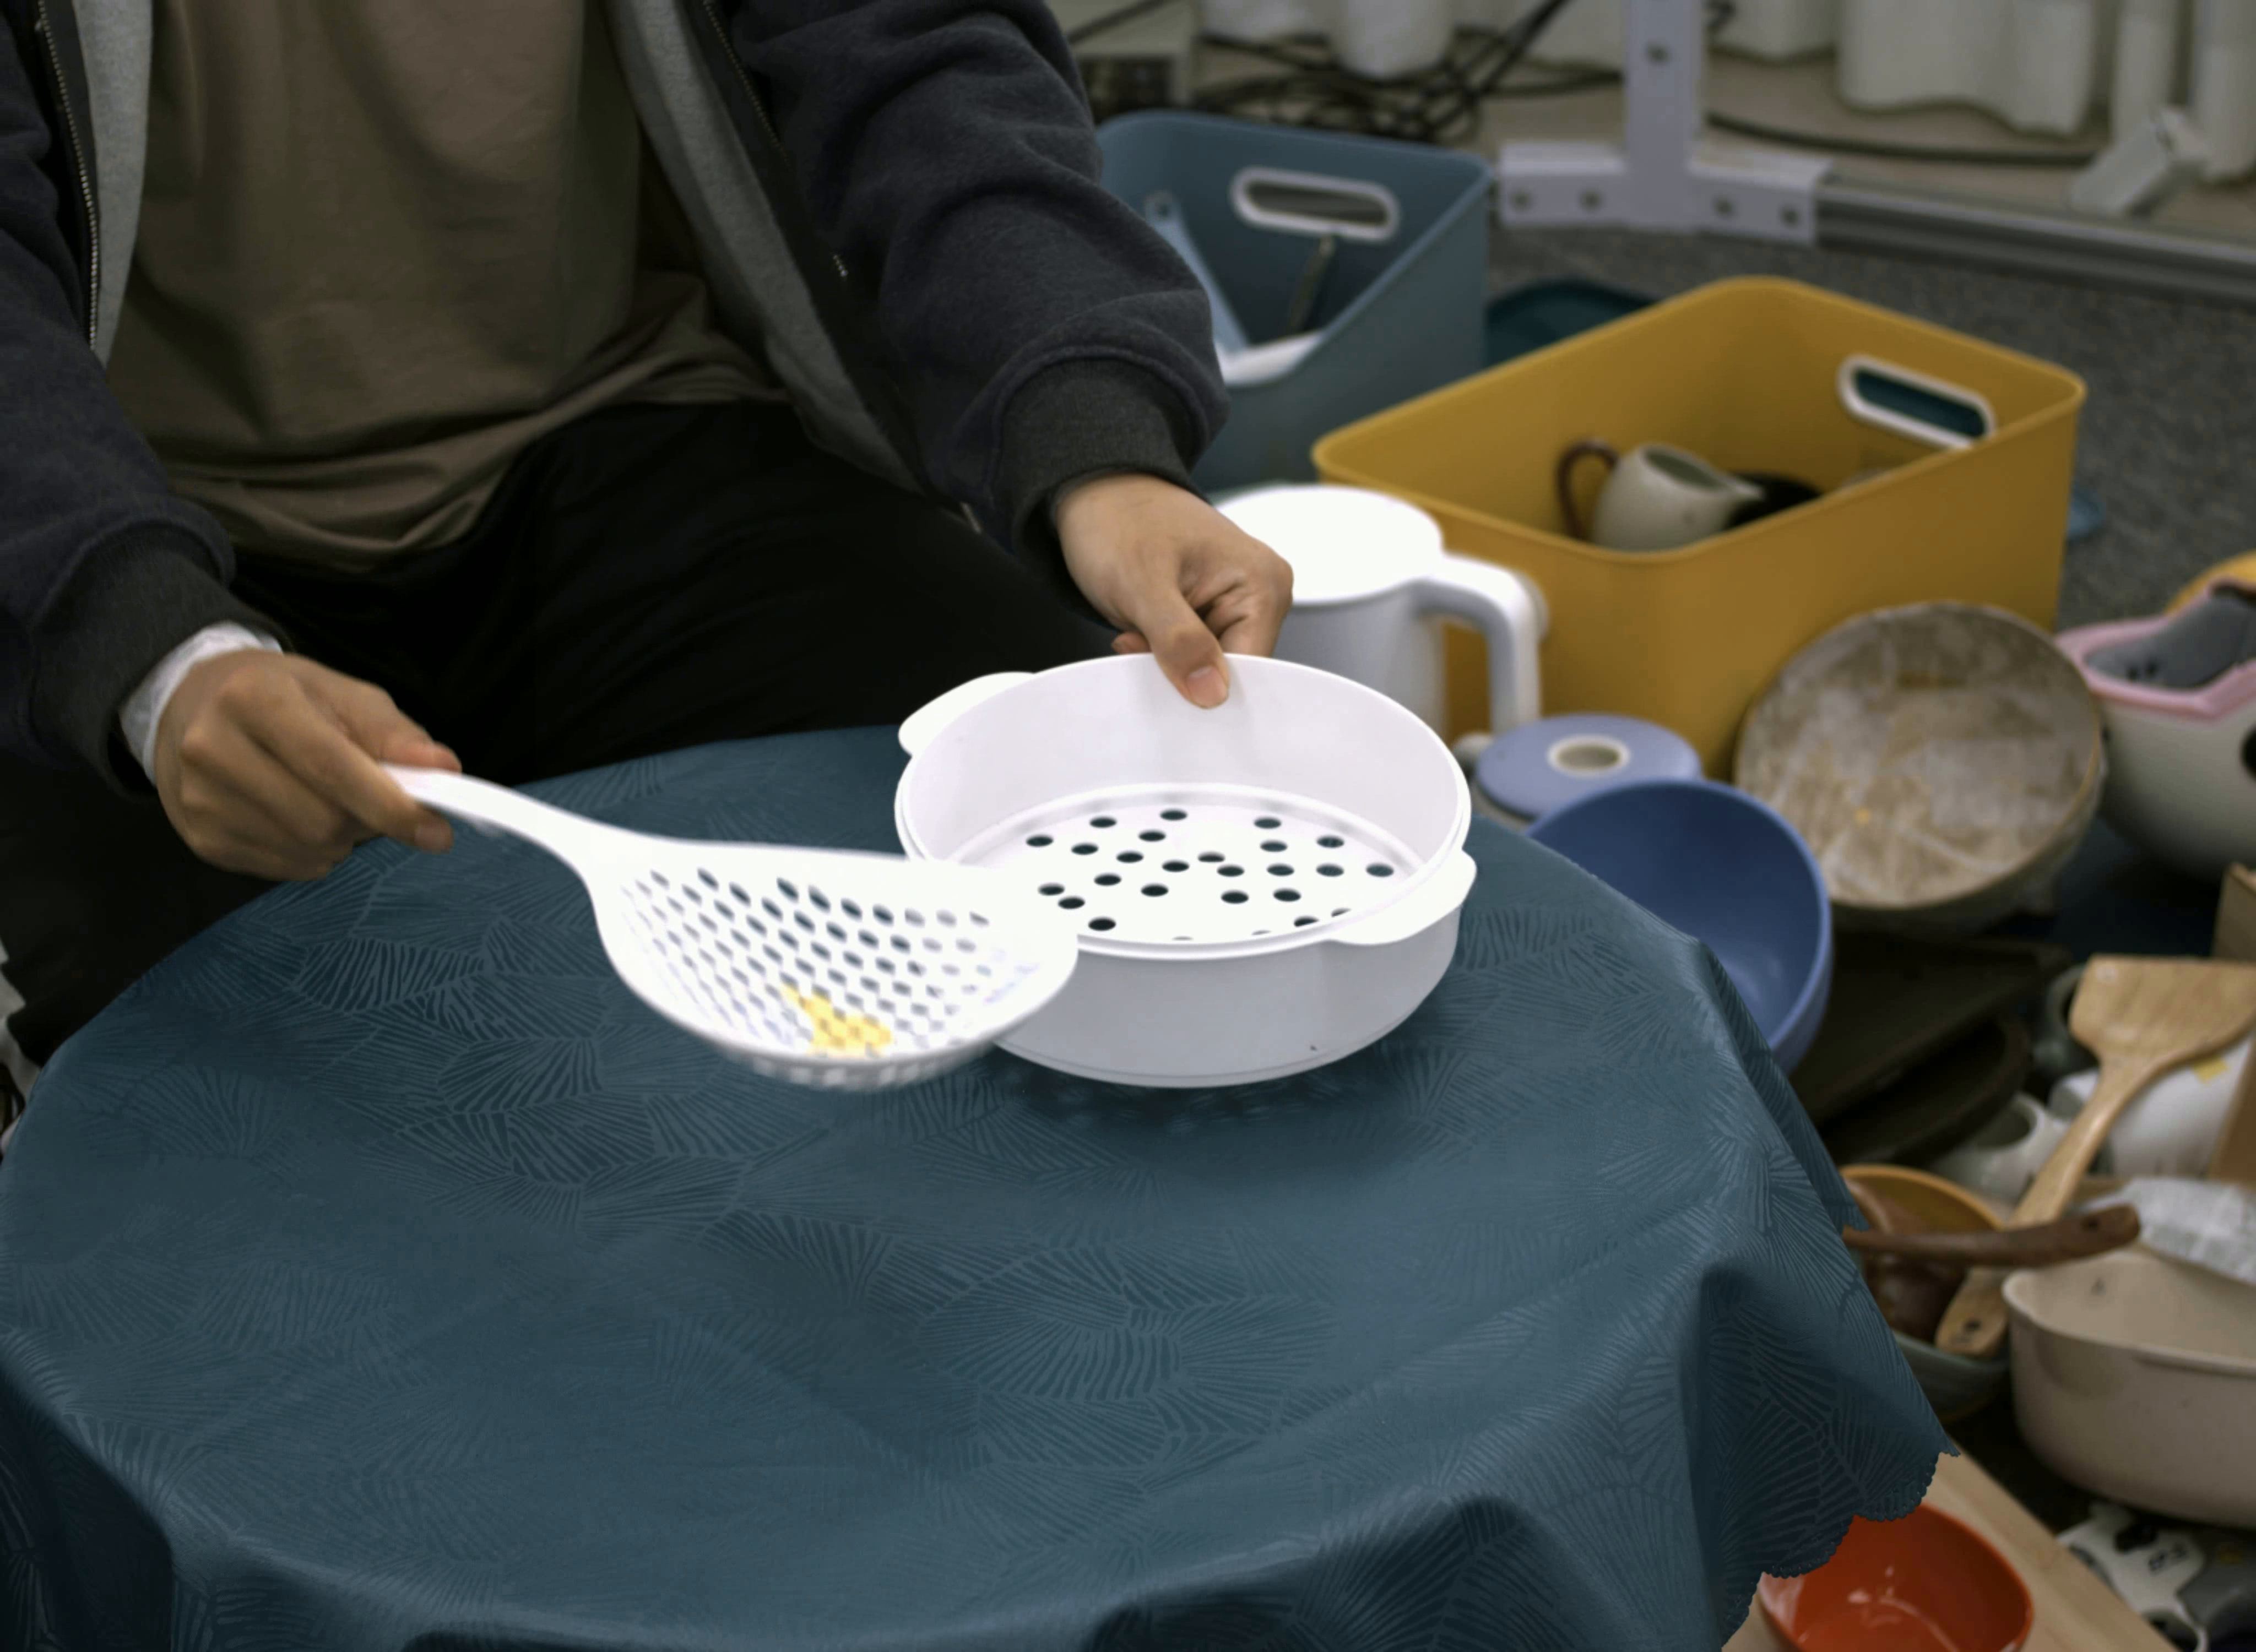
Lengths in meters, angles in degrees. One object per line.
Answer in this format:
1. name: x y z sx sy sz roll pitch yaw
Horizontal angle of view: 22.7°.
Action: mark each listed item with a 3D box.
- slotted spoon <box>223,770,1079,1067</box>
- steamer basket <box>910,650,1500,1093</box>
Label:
1. slotted spoon: -0.169 0.016 1.838 0.347 0.050 0.139 21 35 34
2. steamer basket: 0.024 0.016 1.956 0.230 0.068 0.205 25 38 32
